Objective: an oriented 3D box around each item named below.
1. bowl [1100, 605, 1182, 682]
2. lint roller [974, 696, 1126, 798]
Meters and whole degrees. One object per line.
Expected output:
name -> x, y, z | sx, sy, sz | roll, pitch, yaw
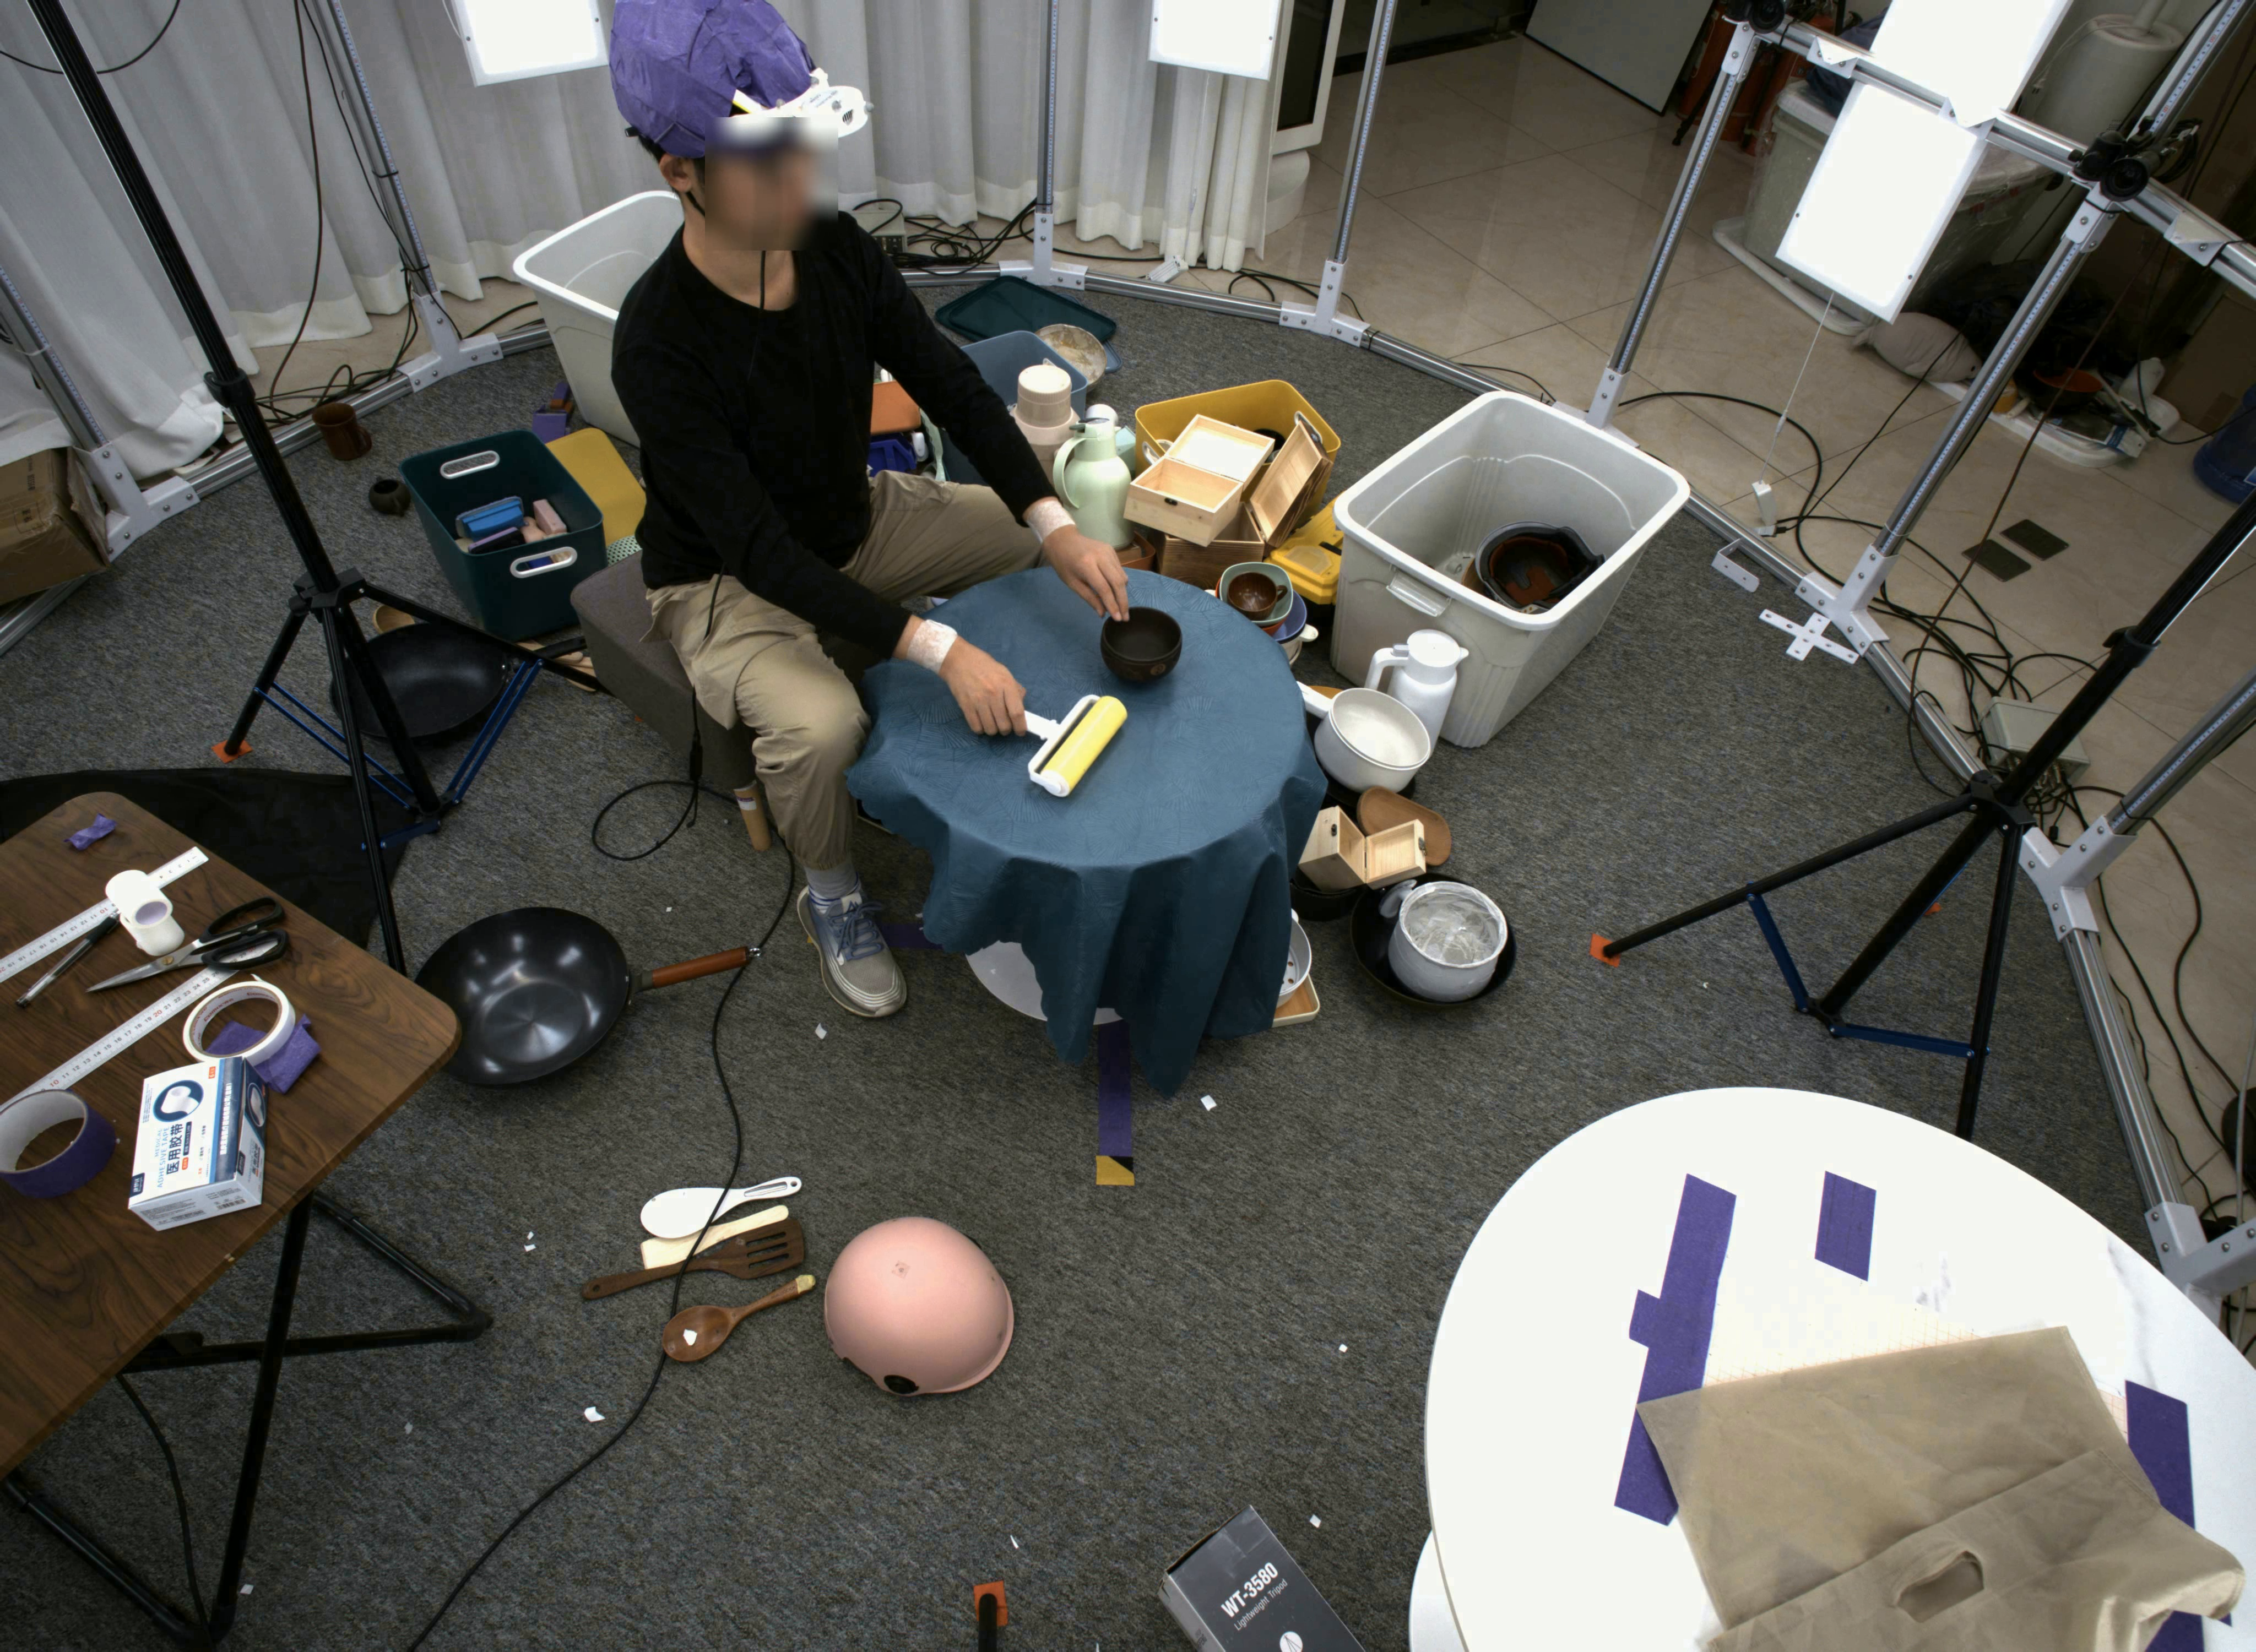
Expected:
bowl -> 0.017, -0.254, 1.843 | 0.118, 0.068, 0.121 | 3, 49, -3
lint roller -> -0.123, -0.139, 1.743 | 0.193, 0.050, 0.177 | 28, 52, 8
